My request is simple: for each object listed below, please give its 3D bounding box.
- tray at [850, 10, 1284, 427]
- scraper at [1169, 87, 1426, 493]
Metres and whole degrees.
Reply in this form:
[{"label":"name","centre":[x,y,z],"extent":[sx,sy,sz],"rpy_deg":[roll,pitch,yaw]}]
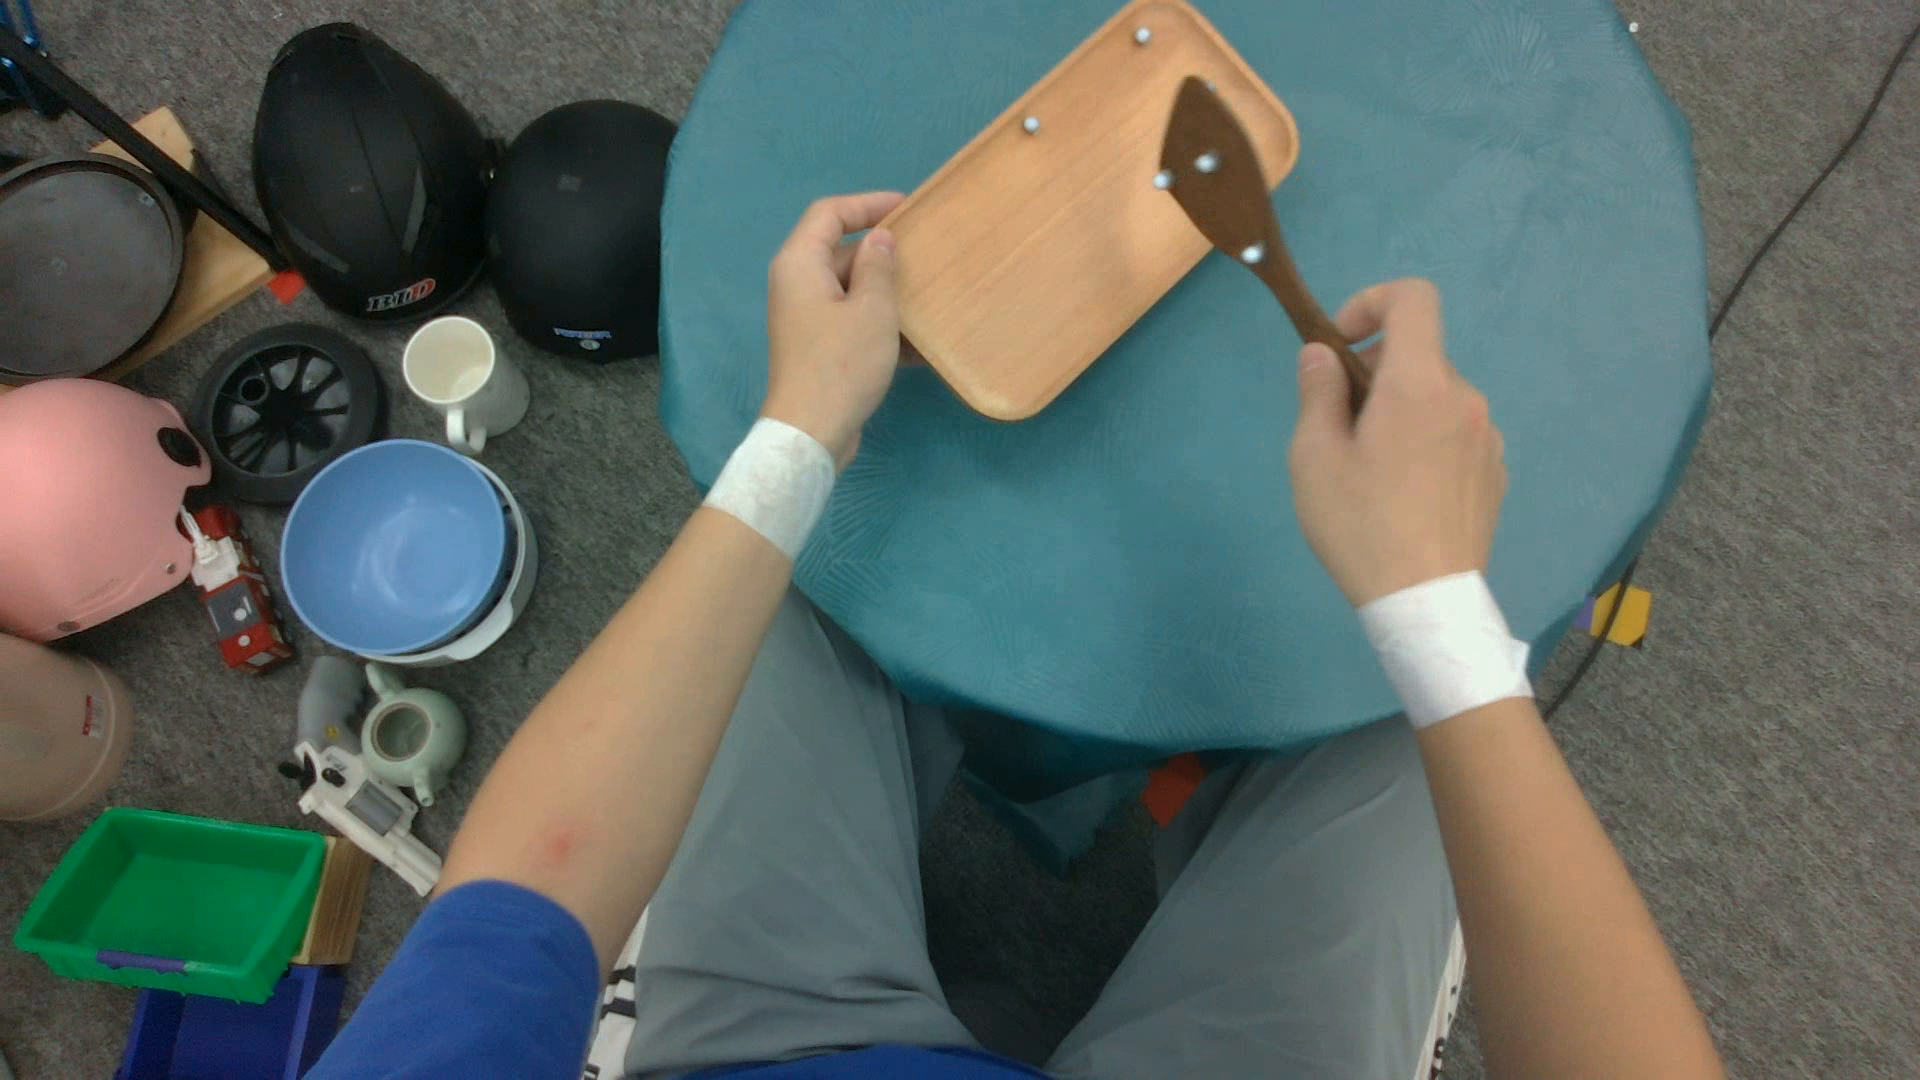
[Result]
[{"label":"tray","centre":[0.062,-0.176,0.745],"extent":[0.130,0.023,0.251],"rpy_deg":[46,75,2]},{"label":"scraper","centre":[0.157,-0.114,0.642],"extent":[0.011,0.075,0.211],"rpy_deg":[-18,69,-20]}]
